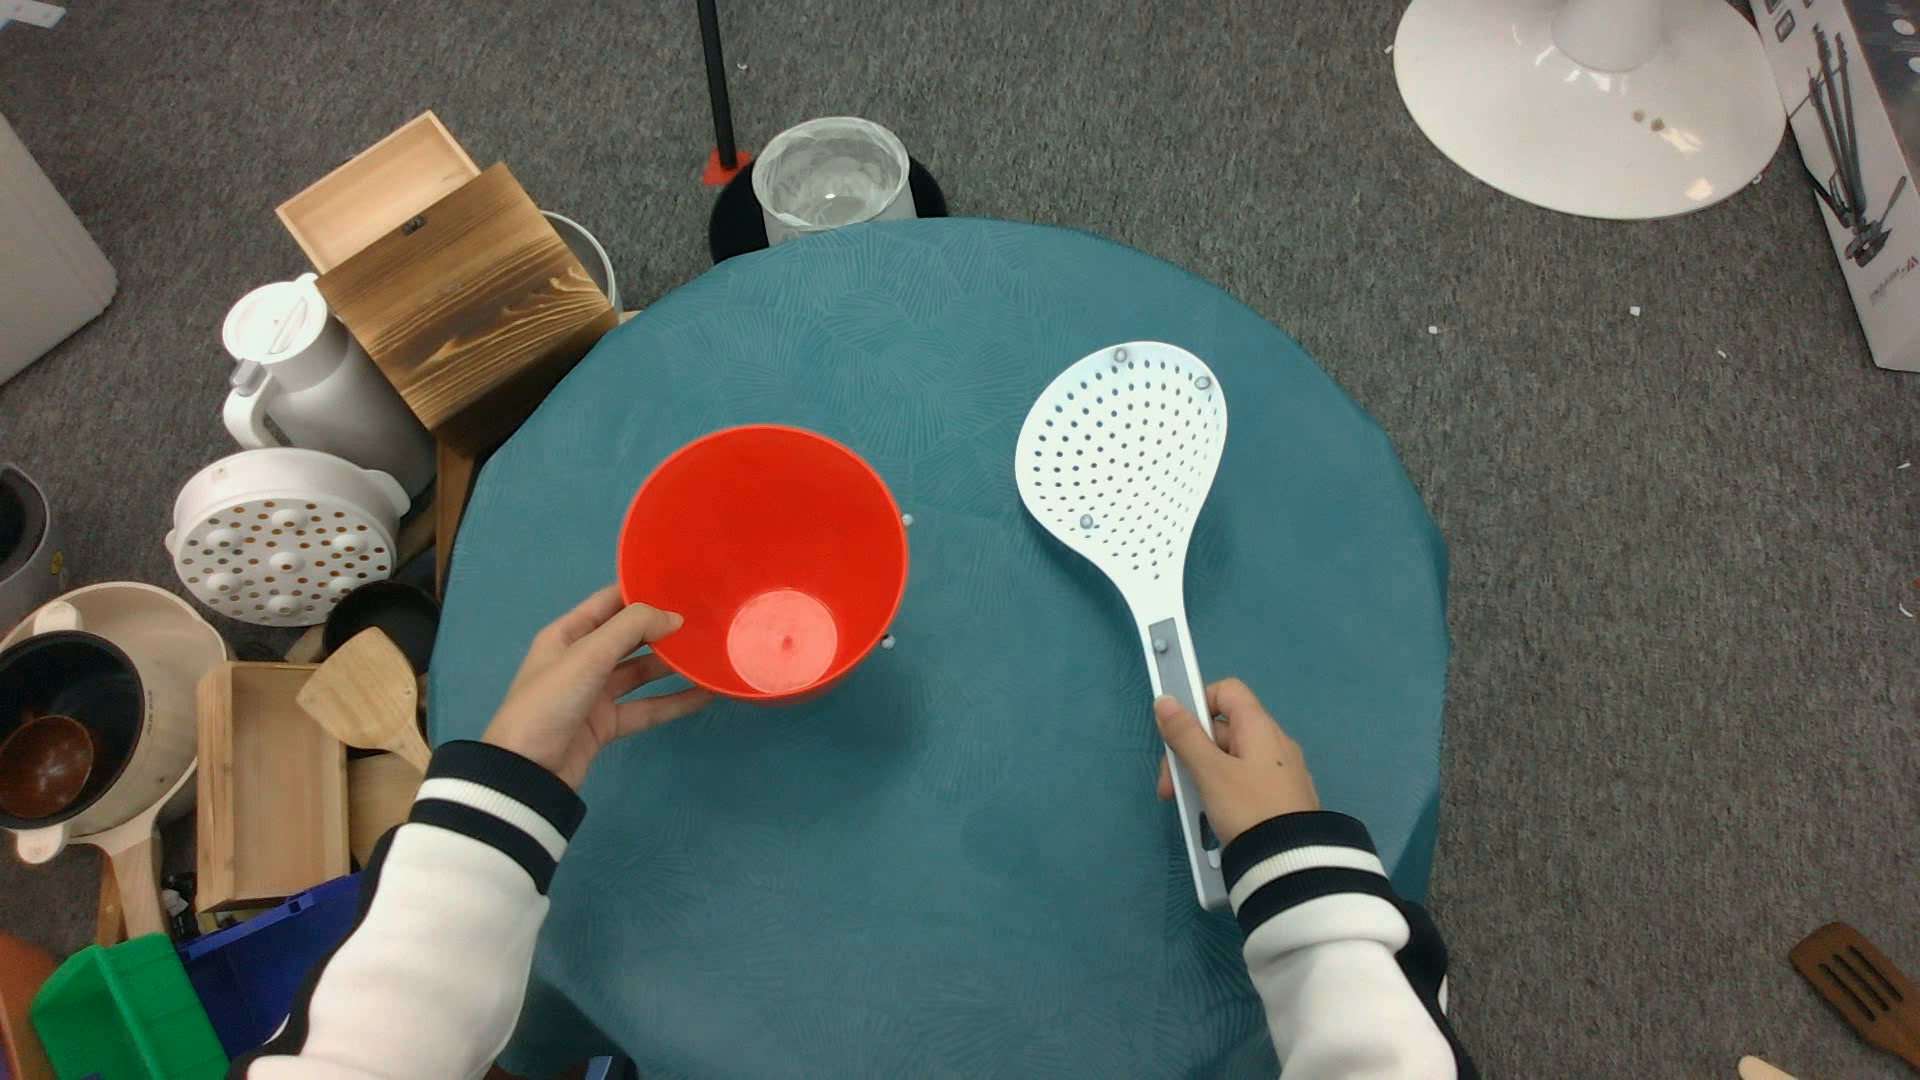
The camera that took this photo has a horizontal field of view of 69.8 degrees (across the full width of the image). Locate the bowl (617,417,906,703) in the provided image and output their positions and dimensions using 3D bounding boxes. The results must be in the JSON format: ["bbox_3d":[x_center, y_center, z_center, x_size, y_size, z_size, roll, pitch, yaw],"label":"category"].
[{"bbox_3d":[-0.104,0.023,0.744,0.148,0.104,0.148,2,62,-4],"label":"bowl"}]

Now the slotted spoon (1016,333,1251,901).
[{"bbox_3d":[0.111,0.029,0.770,0.135,0.045,0.351,-22,51,21],"label":"slotted spoon"}]
